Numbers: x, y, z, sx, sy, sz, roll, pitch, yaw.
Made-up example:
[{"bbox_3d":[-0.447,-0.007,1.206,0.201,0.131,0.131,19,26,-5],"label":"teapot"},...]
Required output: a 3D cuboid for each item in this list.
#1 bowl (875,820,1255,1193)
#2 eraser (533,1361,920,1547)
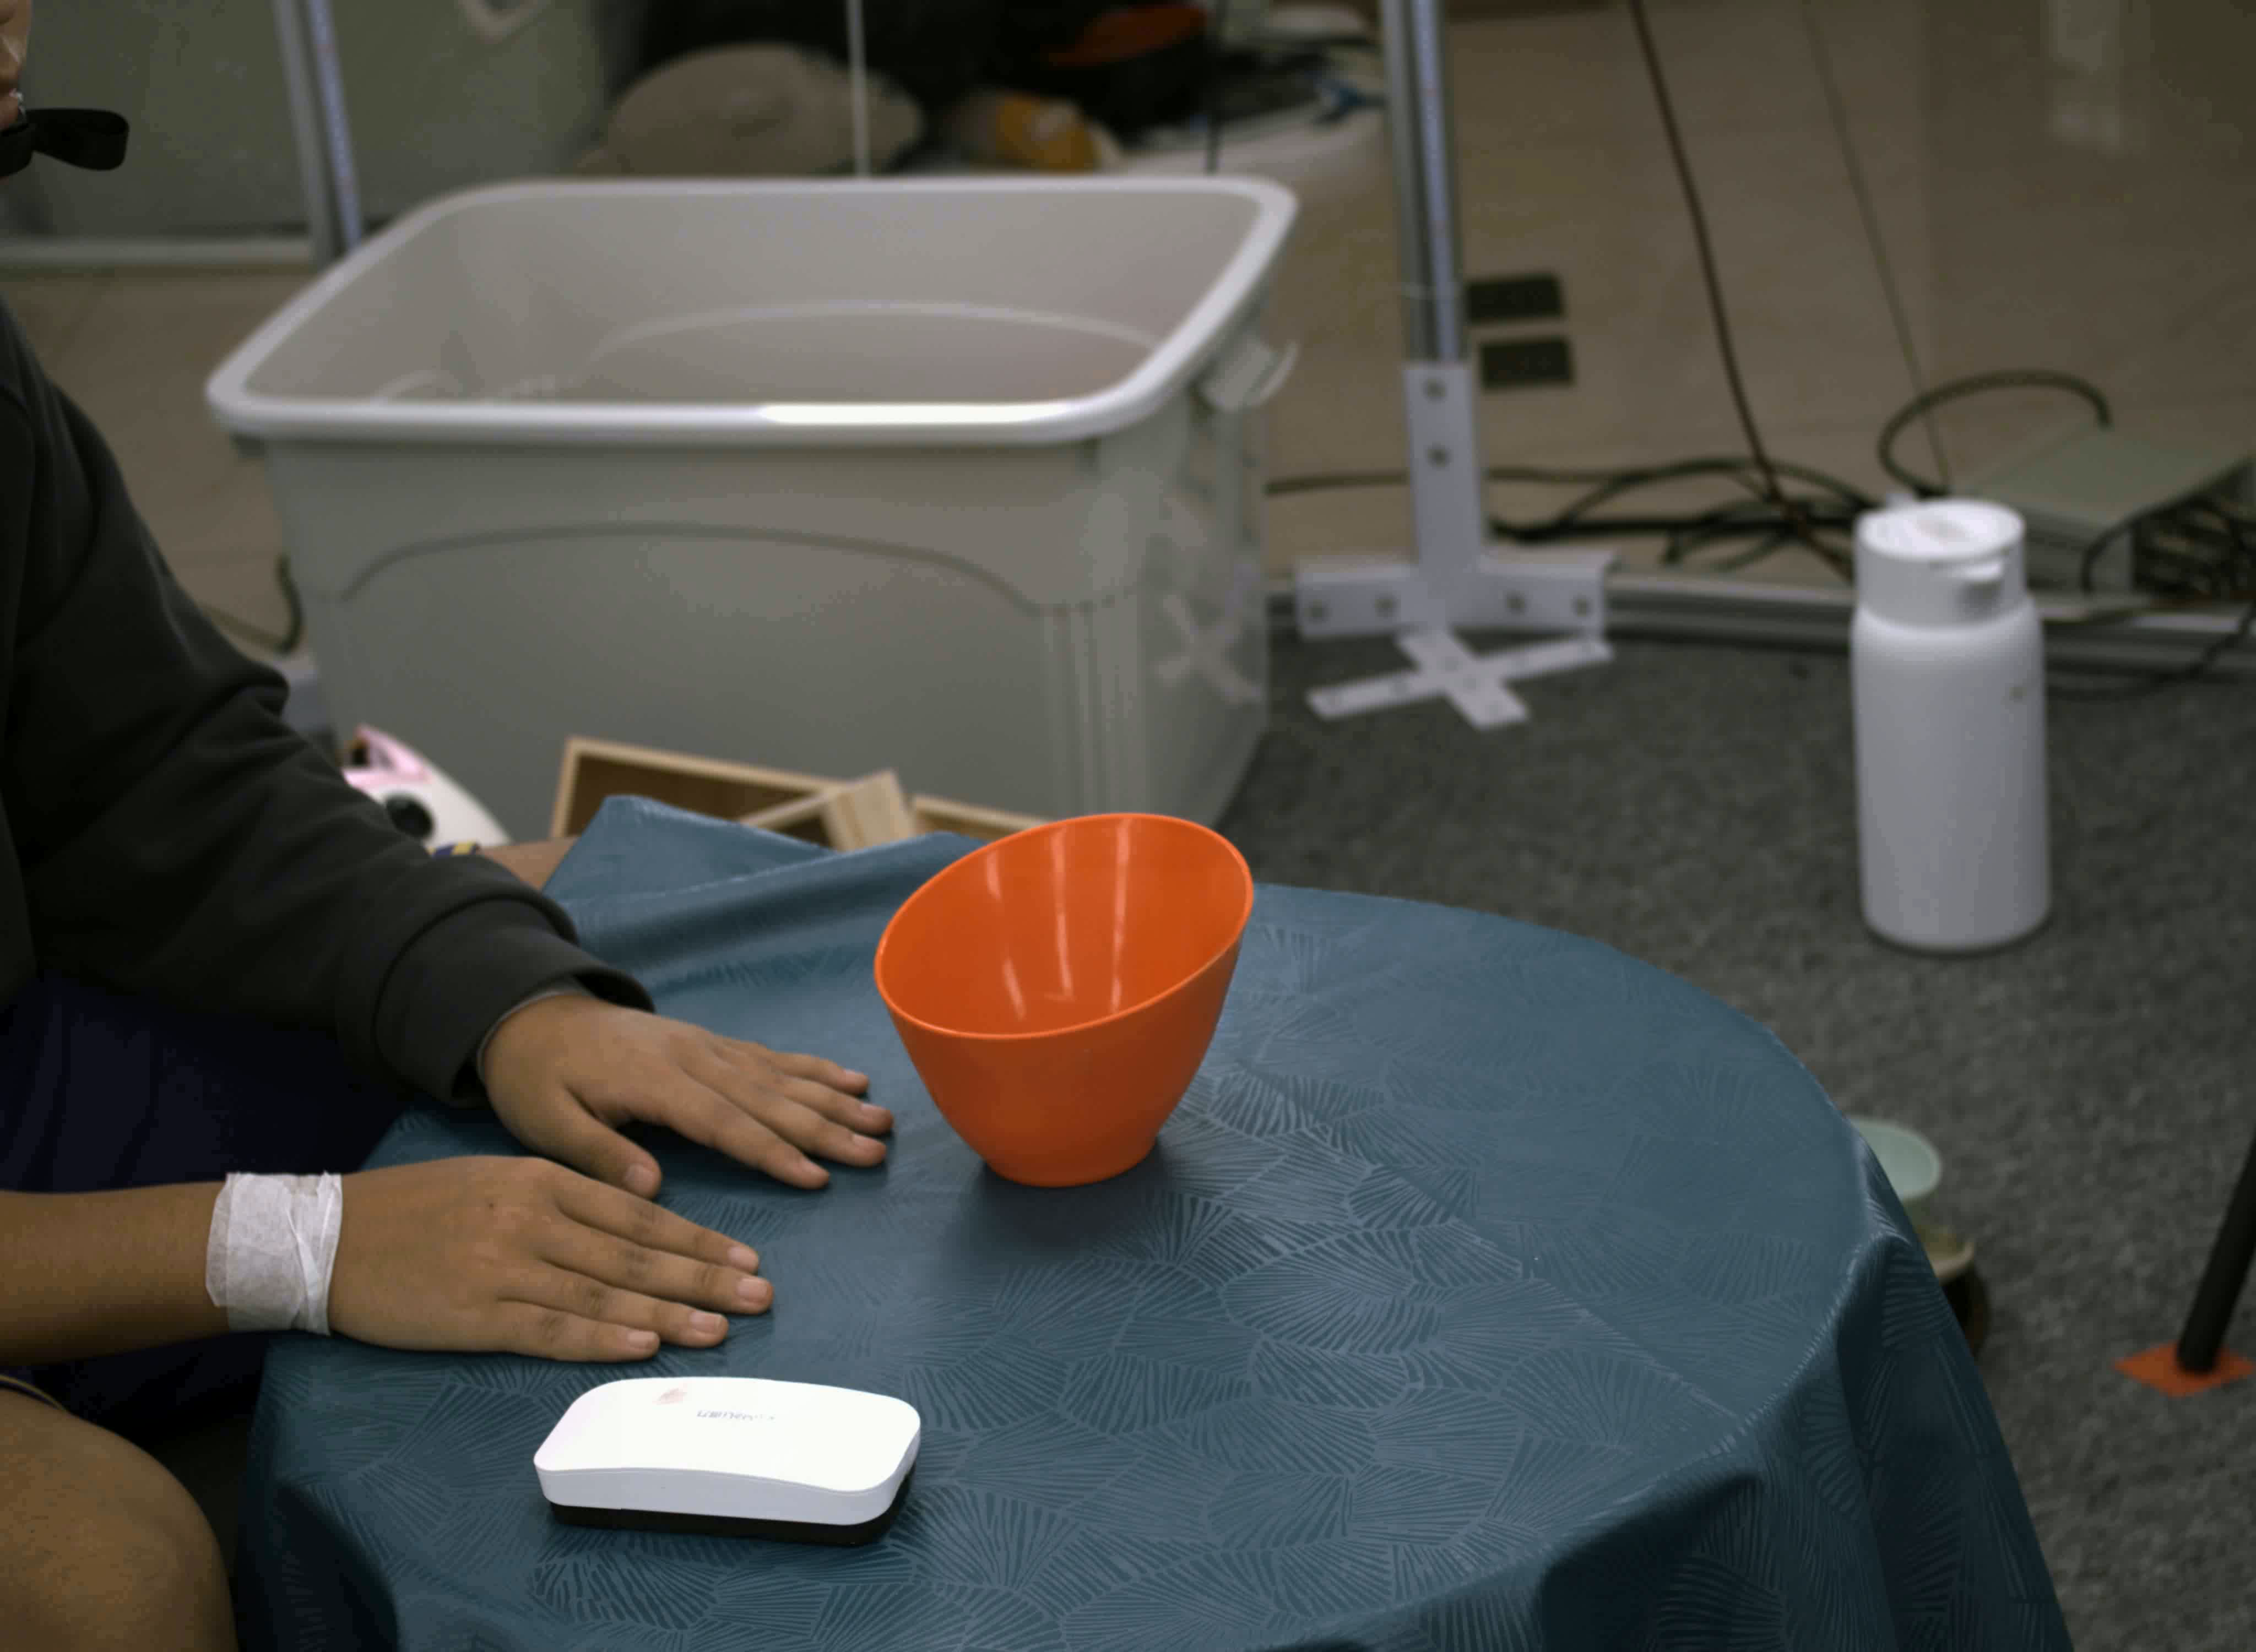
[{"bbox_3d":[-0.019,0.075,2.169,0.148,0.106,0.146,-6,26,3],"label":"bowl"},{"bbox_3d":[-0.138,0.218,1.973,0.131,0.035,0.062,4,26,19],"label":"eraser"}]
